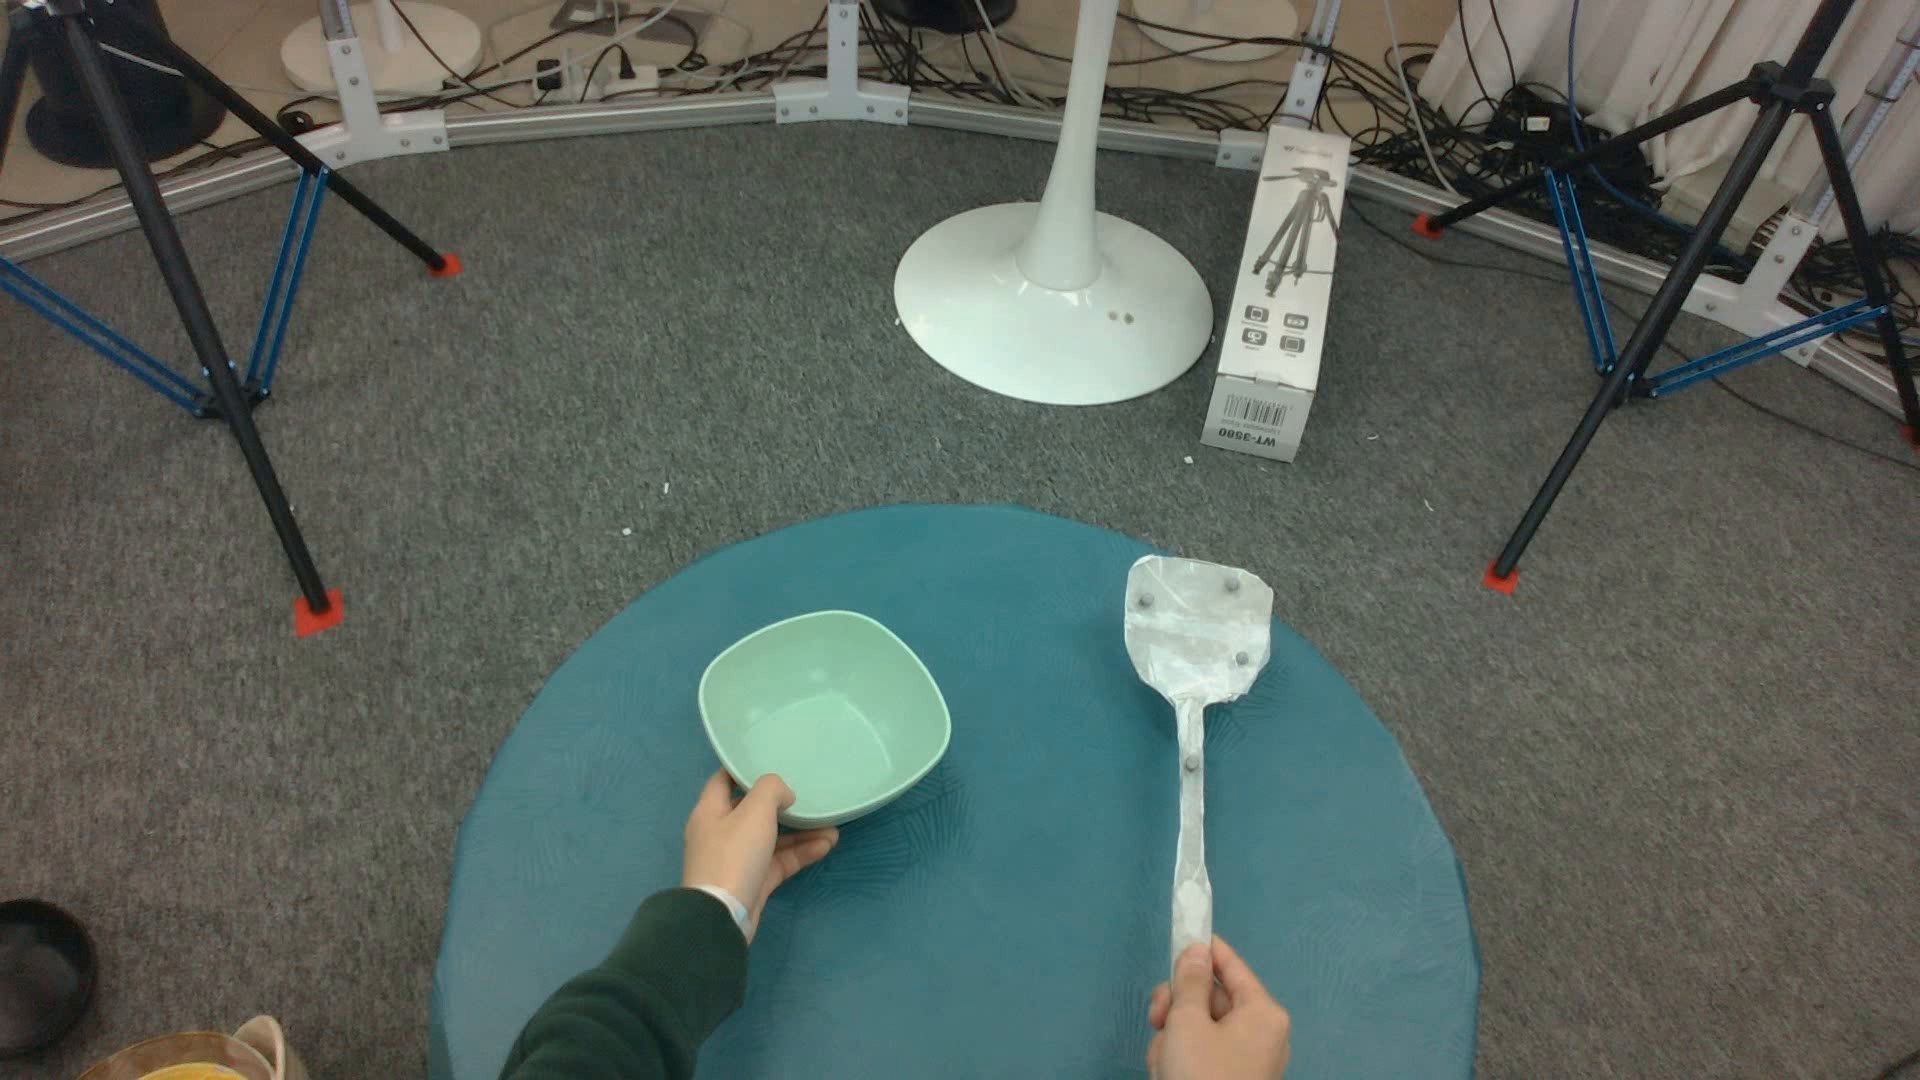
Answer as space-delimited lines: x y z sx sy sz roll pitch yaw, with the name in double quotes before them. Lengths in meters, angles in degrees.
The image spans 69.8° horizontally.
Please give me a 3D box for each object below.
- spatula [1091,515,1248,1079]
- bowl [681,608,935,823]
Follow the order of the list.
"spatula" 0.138 0.132 0.814 0.098 0.044 0.366 -5 47 5
"bowl" -0.093 0.114 0.829 0.151 0.058 0.152 7 44 -7
